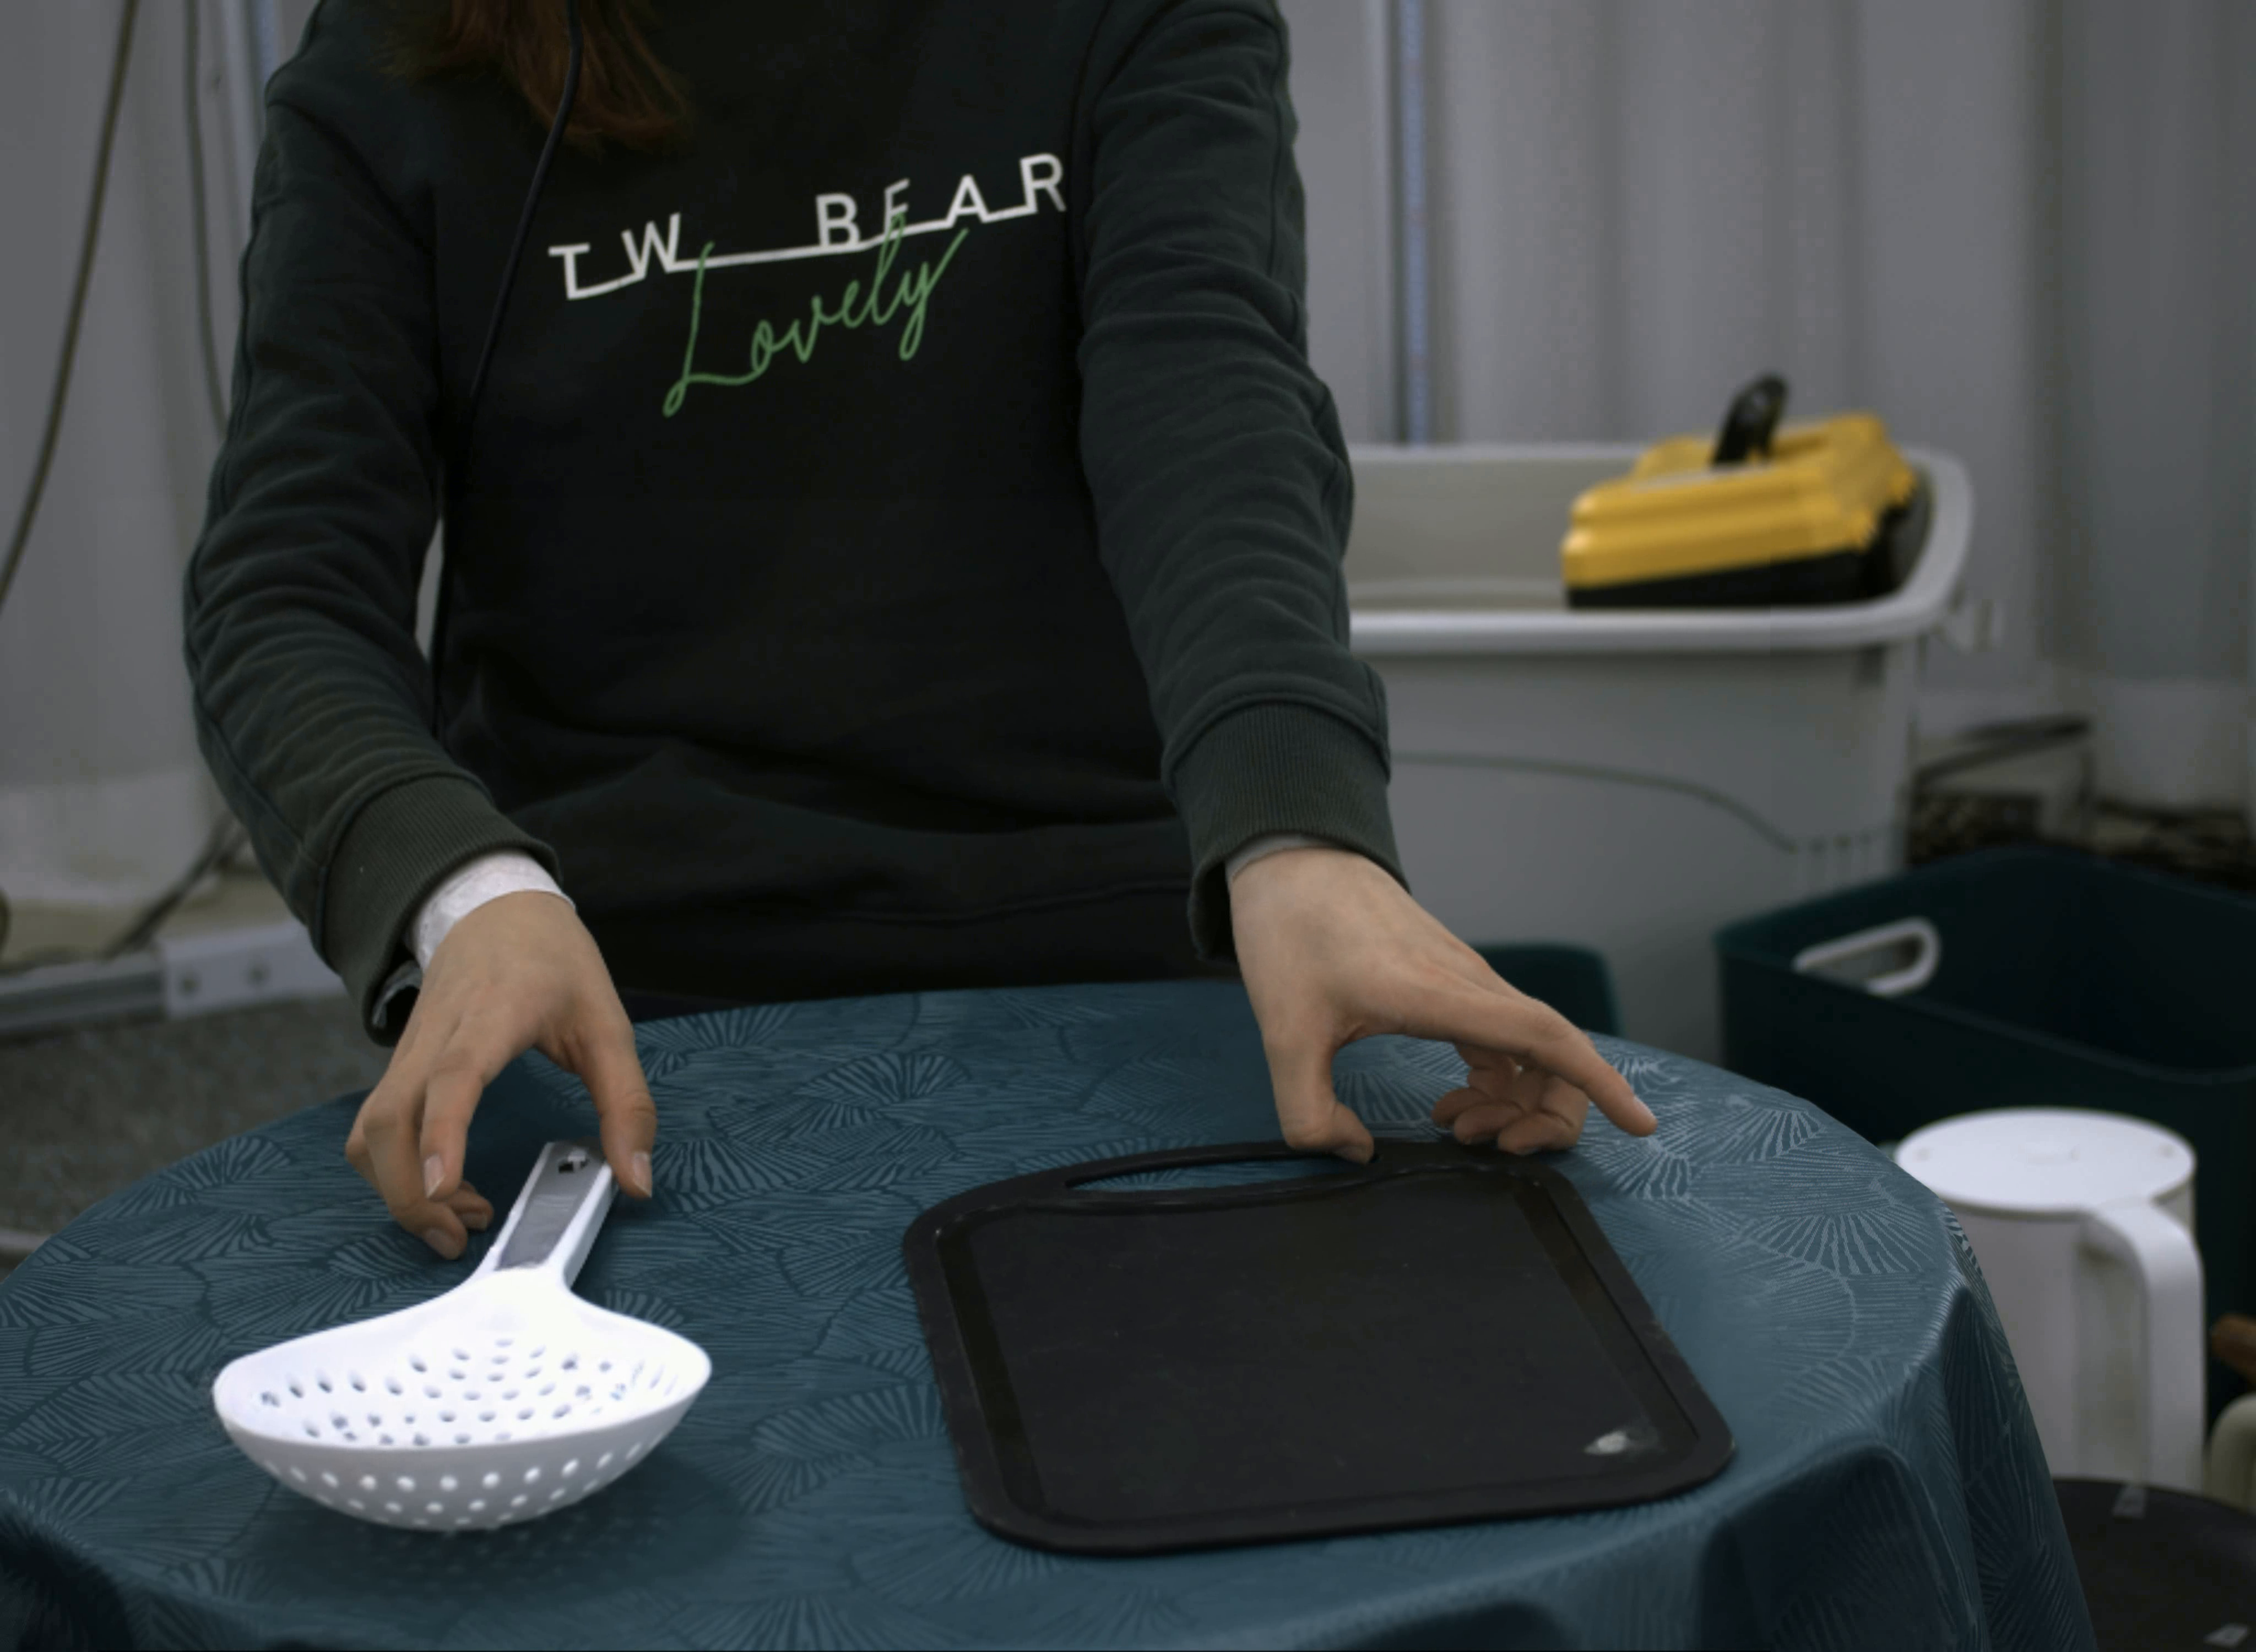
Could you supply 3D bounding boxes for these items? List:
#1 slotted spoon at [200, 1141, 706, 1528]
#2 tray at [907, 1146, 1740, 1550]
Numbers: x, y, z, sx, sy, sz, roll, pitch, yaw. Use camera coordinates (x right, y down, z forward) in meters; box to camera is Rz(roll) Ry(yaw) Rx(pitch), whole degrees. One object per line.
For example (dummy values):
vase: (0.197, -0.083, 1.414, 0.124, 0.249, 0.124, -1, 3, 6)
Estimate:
slotted spoon: (-0.178, 0.137, 1.577, 0.135, 0.045, 0.352, 0, 14, 2)
tray: (0.047, 0.143, 1.585, 0.210, 0.010, 0.328, -4, 15, -6)
